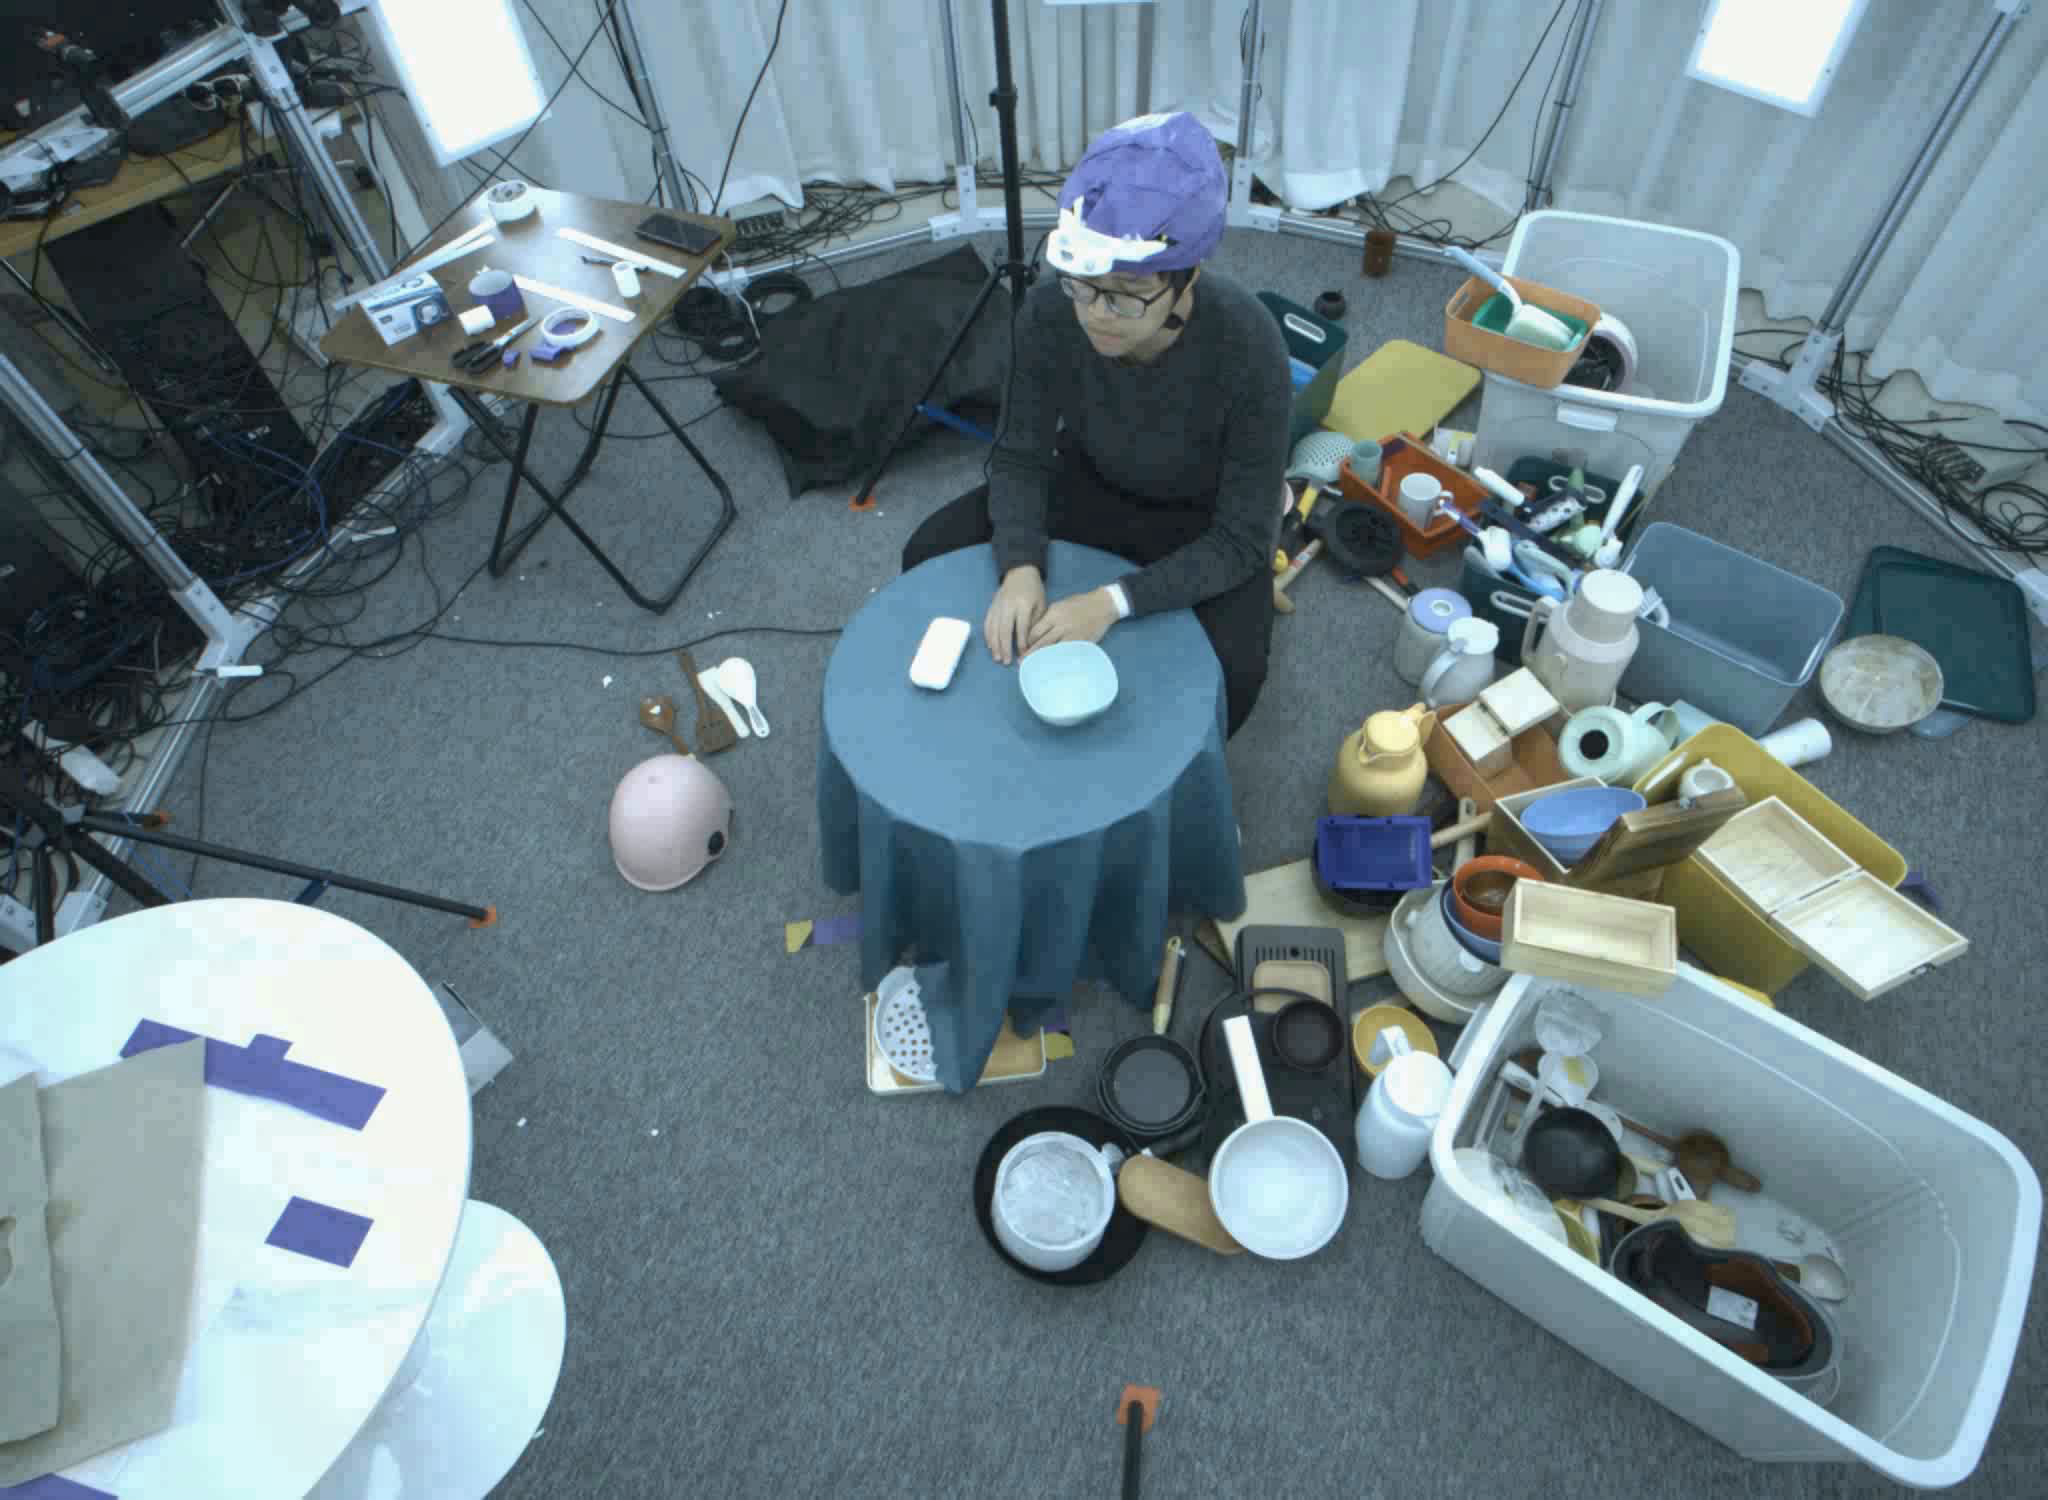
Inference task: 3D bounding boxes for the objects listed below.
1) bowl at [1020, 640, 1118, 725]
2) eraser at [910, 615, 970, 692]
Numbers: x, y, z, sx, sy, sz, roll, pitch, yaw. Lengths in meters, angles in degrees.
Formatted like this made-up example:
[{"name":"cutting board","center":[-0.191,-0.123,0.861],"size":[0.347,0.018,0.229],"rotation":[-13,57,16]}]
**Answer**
[{"name":"bowl","center":[0.066,-0.089,1.815],"size":[0.151,0.059,0.150],"rotation":[0,56,2]},{"name":"eraser","center":[-0.127,-0.150,1.879],"size":[0.063,0.035,0.131],"rotation":[14,58,9]}]
